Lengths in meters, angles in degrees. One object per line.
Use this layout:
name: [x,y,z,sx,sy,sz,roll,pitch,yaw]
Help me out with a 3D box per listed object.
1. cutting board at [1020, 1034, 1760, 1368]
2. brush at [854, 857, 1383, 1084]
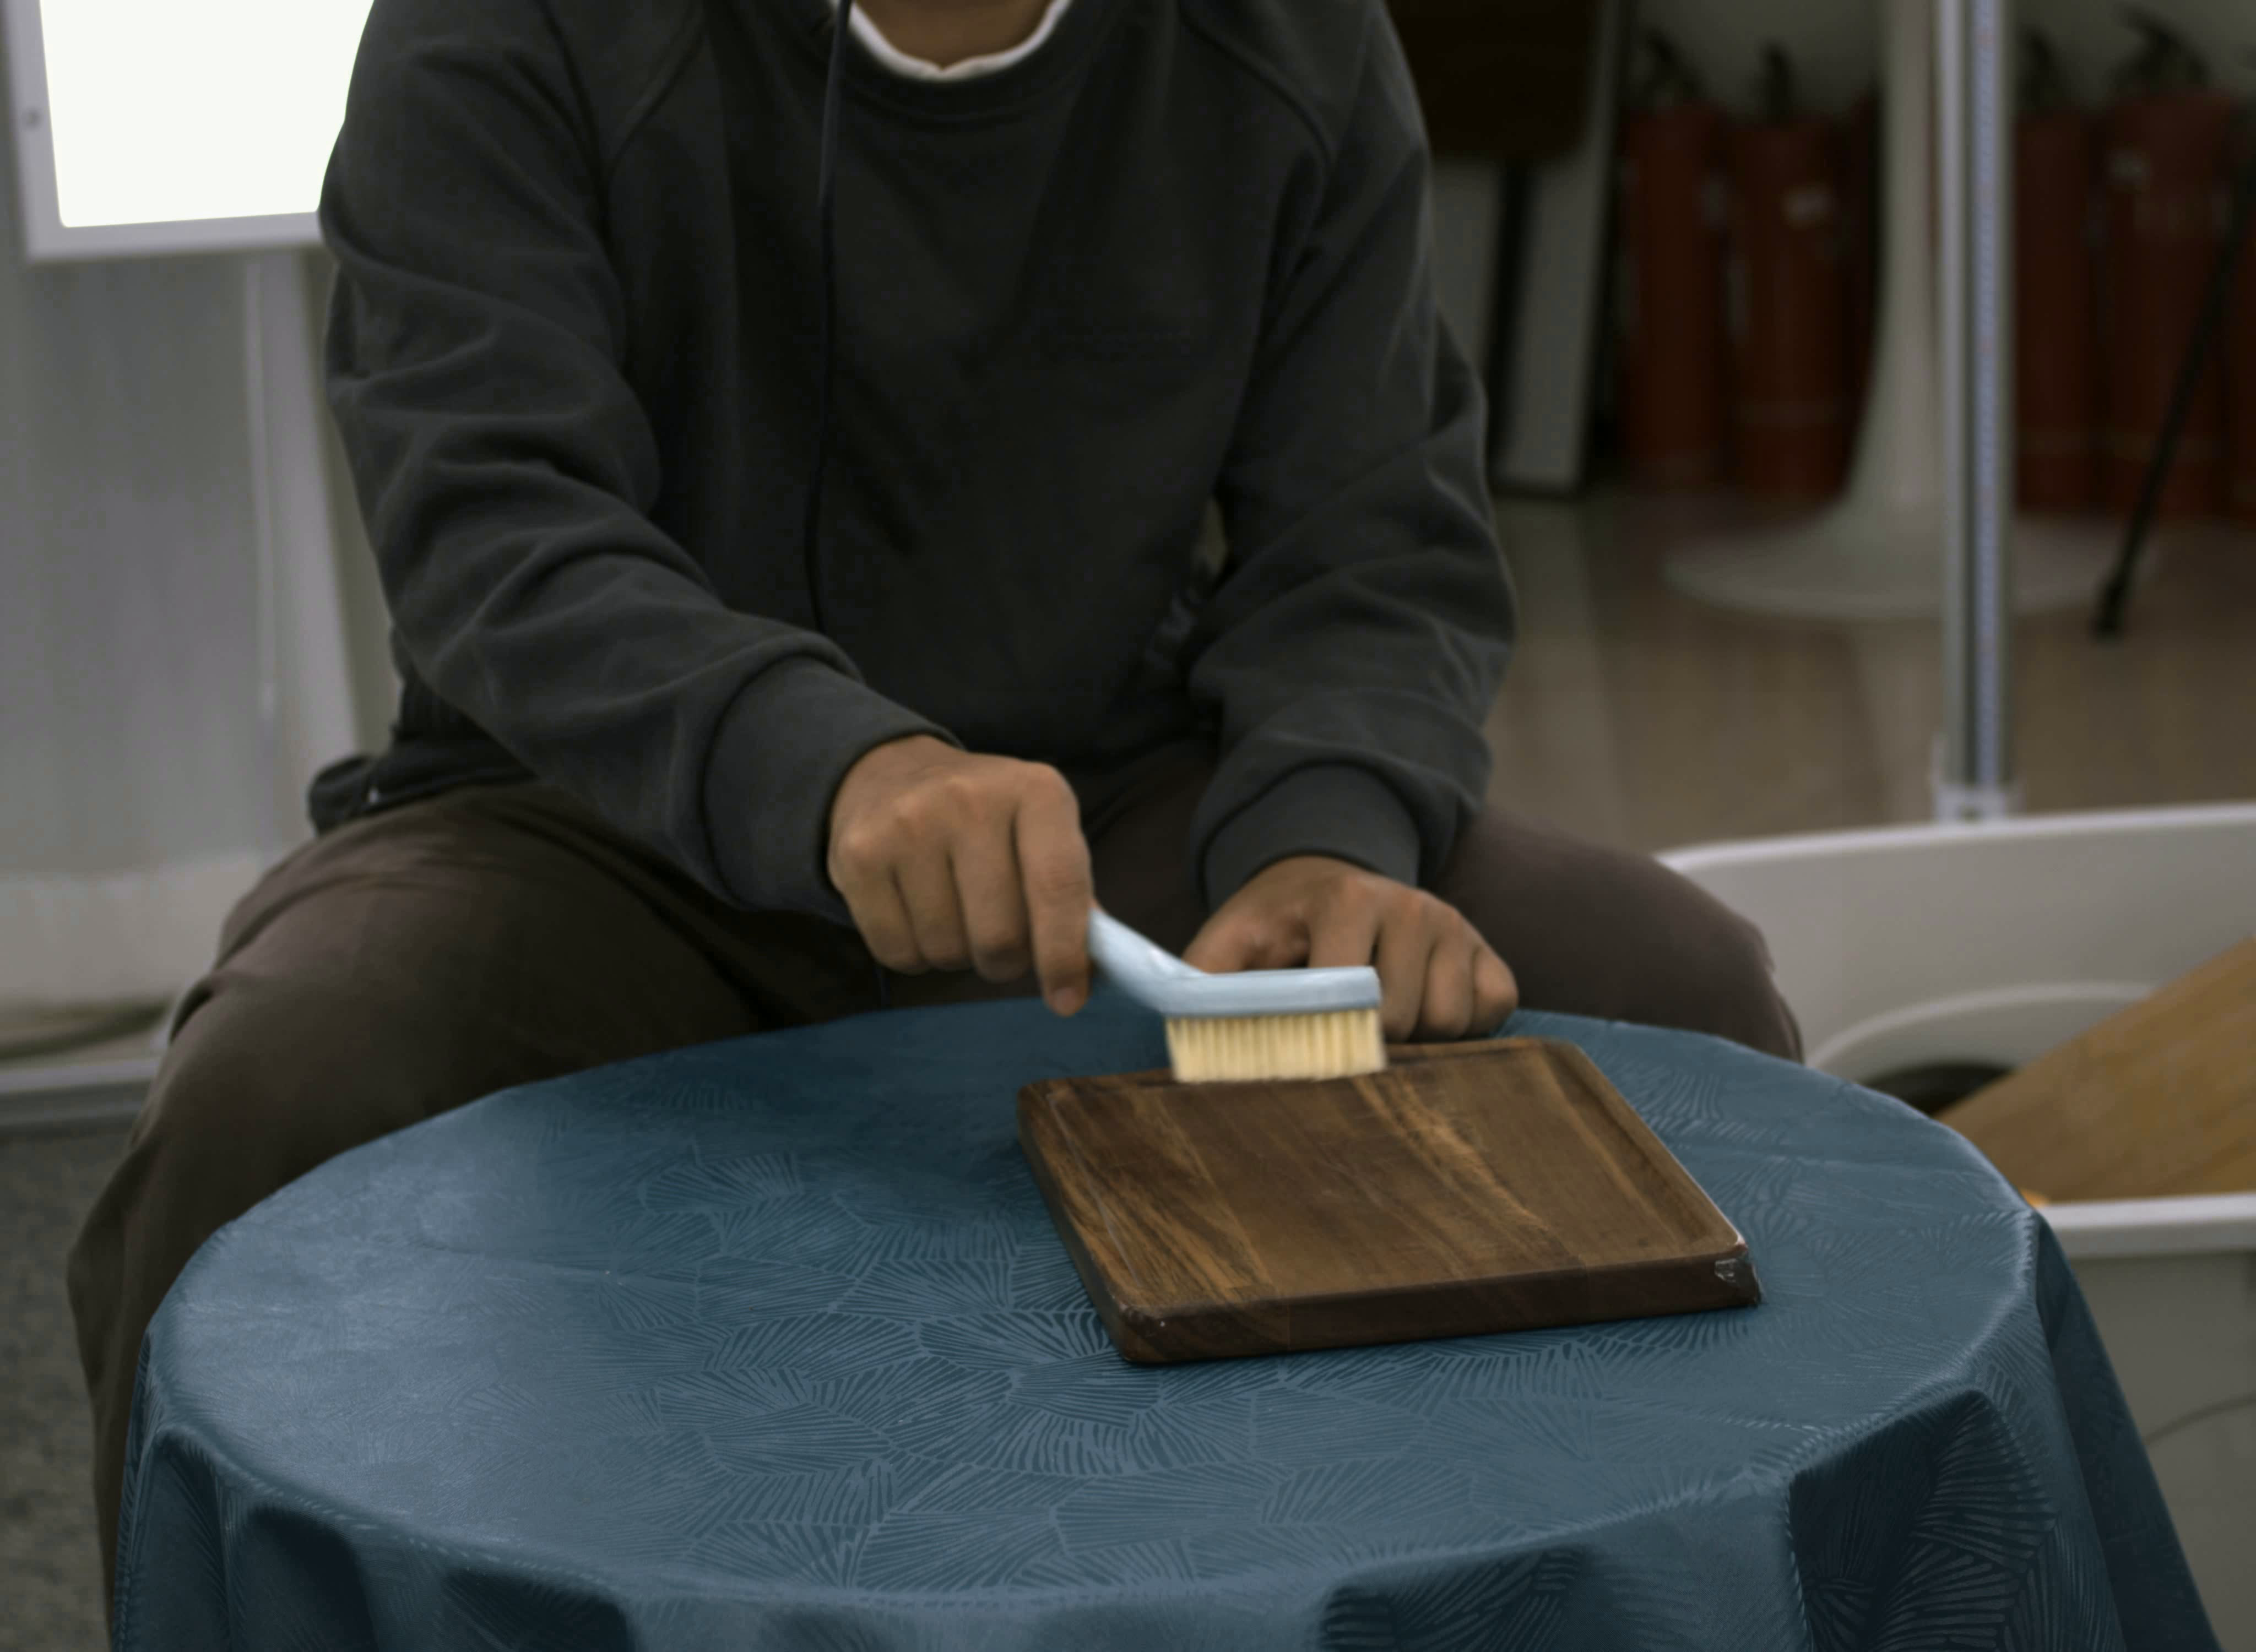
cutting board: [0.071,0.105,1.777,0.198,0.023,0.354,-5,14,-7]
brush: [-0.008,0.049,1.761,0.231,0.050,0.037,14,14,43]
